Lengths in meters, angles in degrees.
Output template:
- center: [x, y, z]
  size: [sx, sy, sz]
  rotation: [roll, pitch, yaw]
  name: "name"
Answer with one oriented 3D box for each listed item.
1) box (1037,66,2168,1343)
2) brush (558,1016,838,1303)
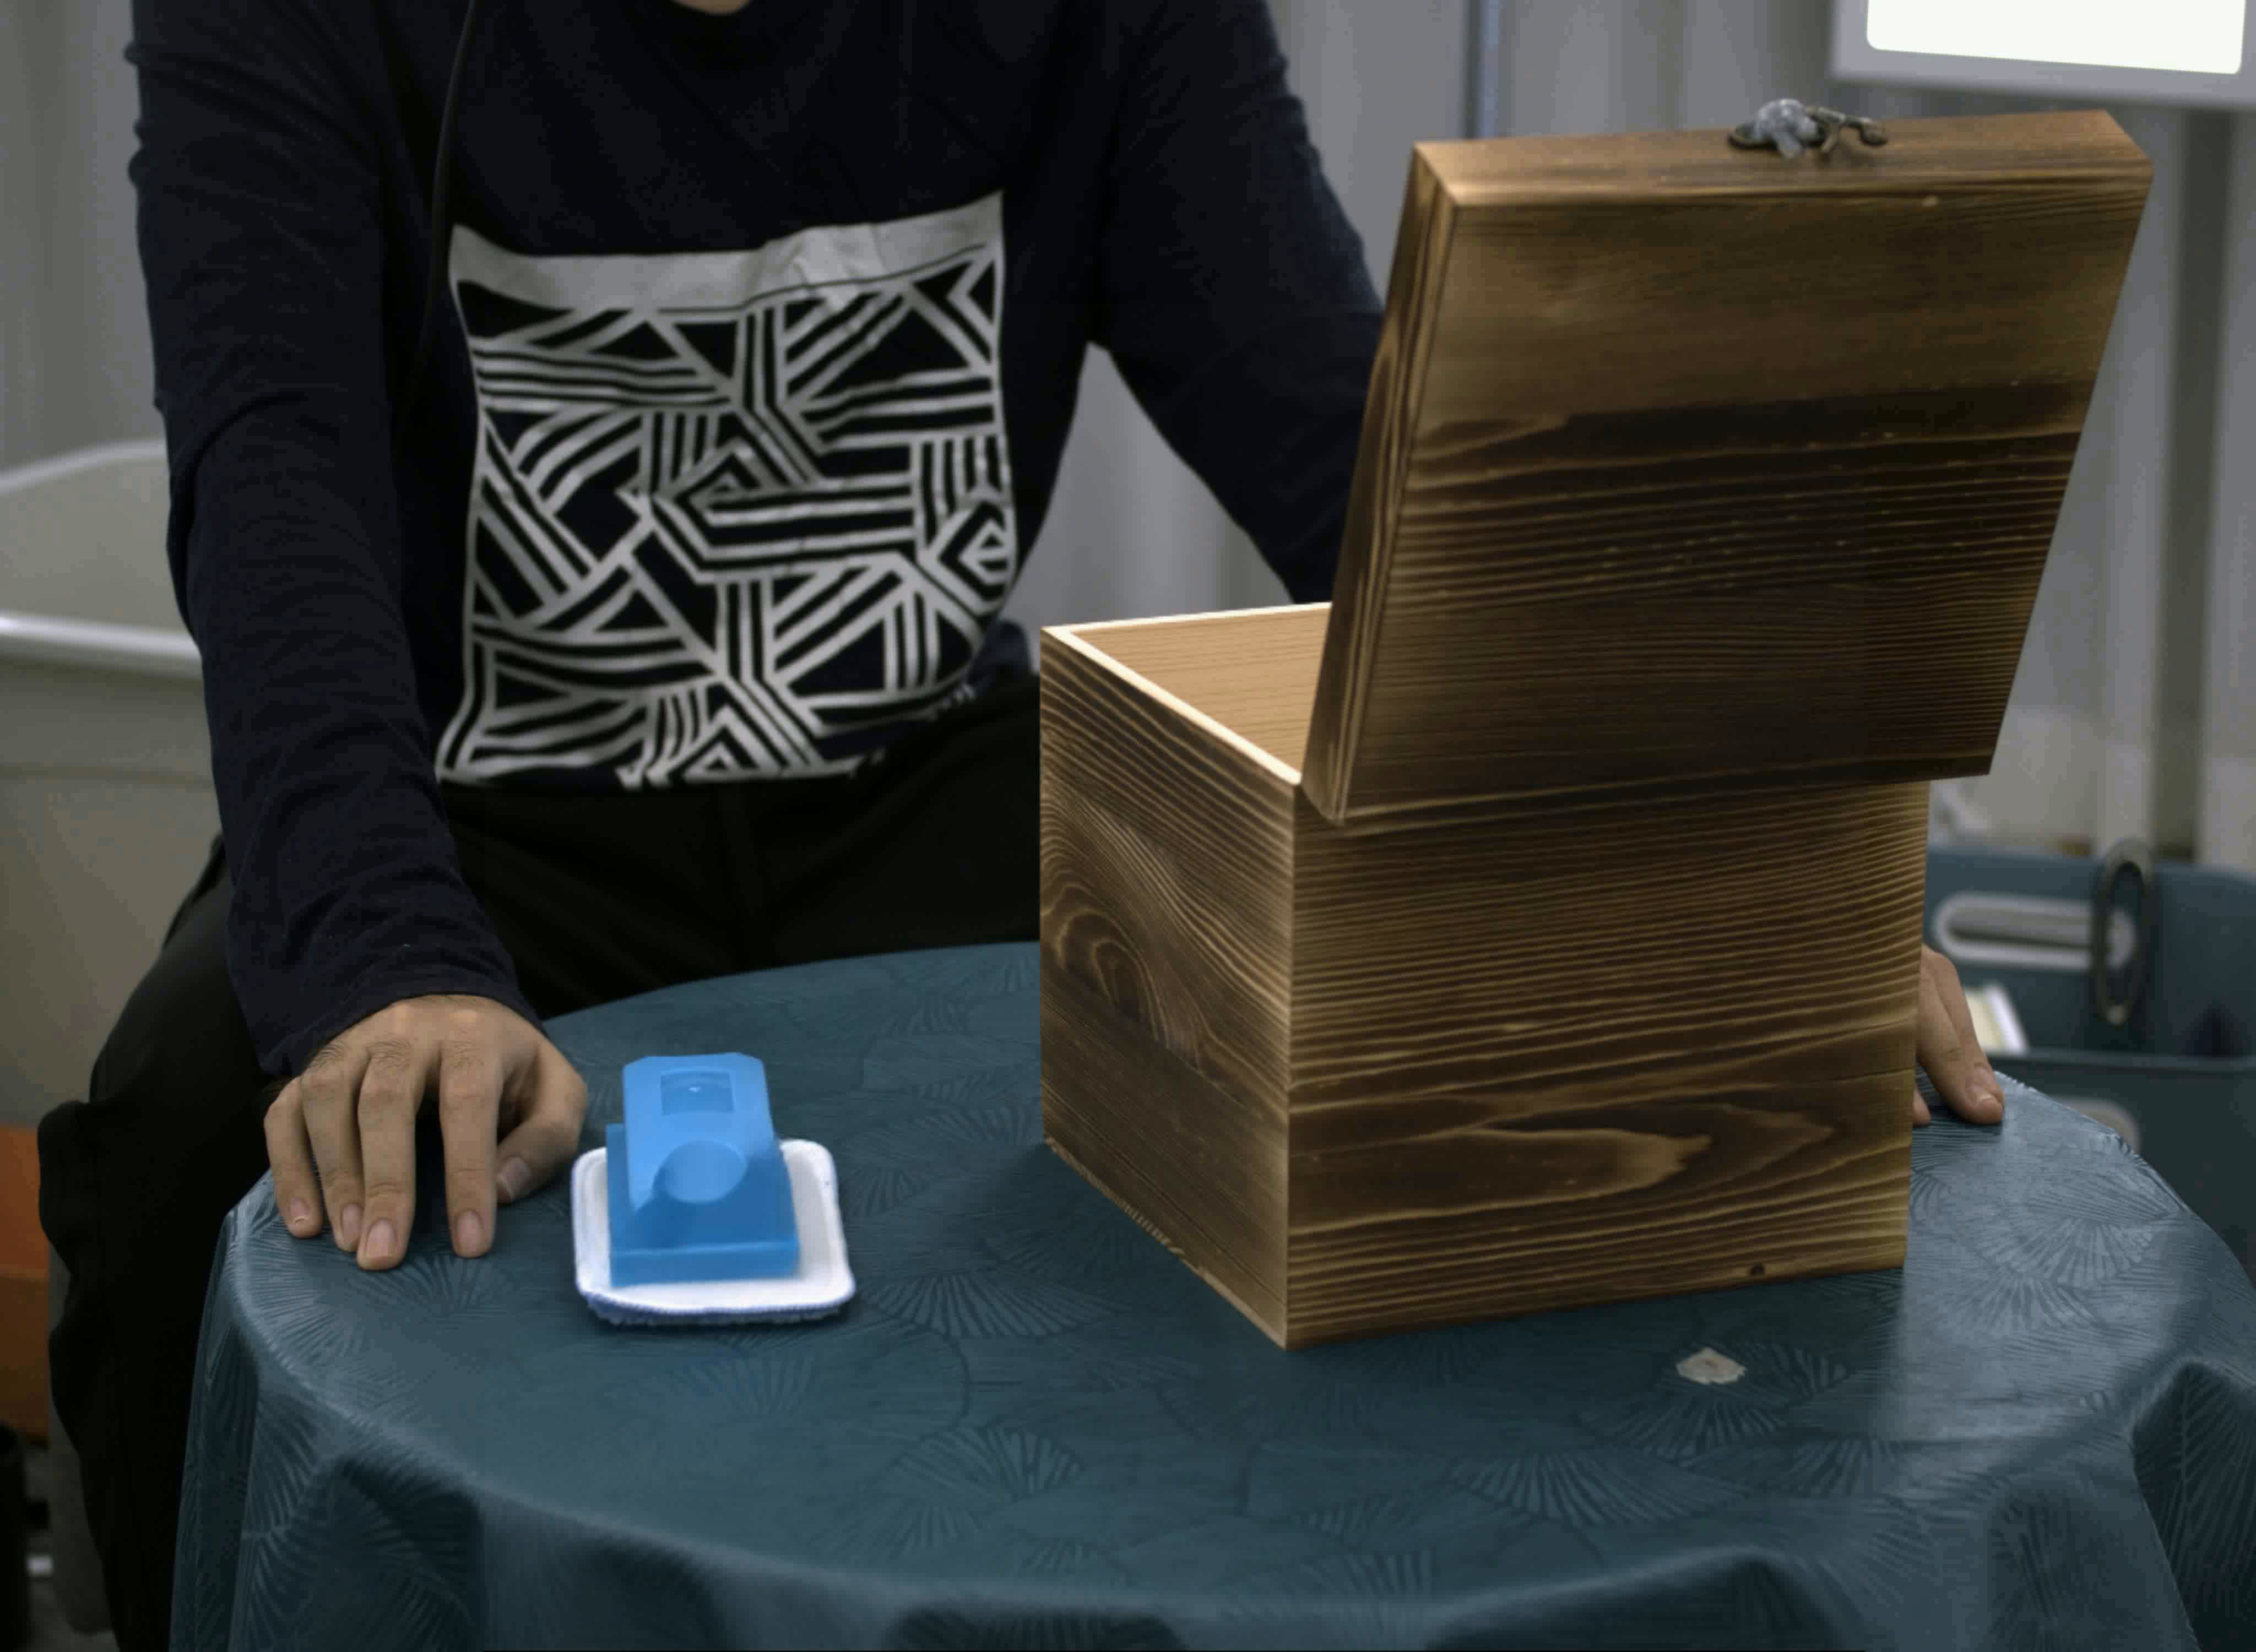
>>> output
- center: [0.123, -0.046, 1.524]
  size: [0.209, 0.378, 0.318]
  rotation: [-6, 17, -21]
  name: "box"
- center: [-0.127, 0.096, 1.567]
  size: [0.084, 0.056, 0.143]
  rotation: [2, 17, -5]
  name: "brush"
